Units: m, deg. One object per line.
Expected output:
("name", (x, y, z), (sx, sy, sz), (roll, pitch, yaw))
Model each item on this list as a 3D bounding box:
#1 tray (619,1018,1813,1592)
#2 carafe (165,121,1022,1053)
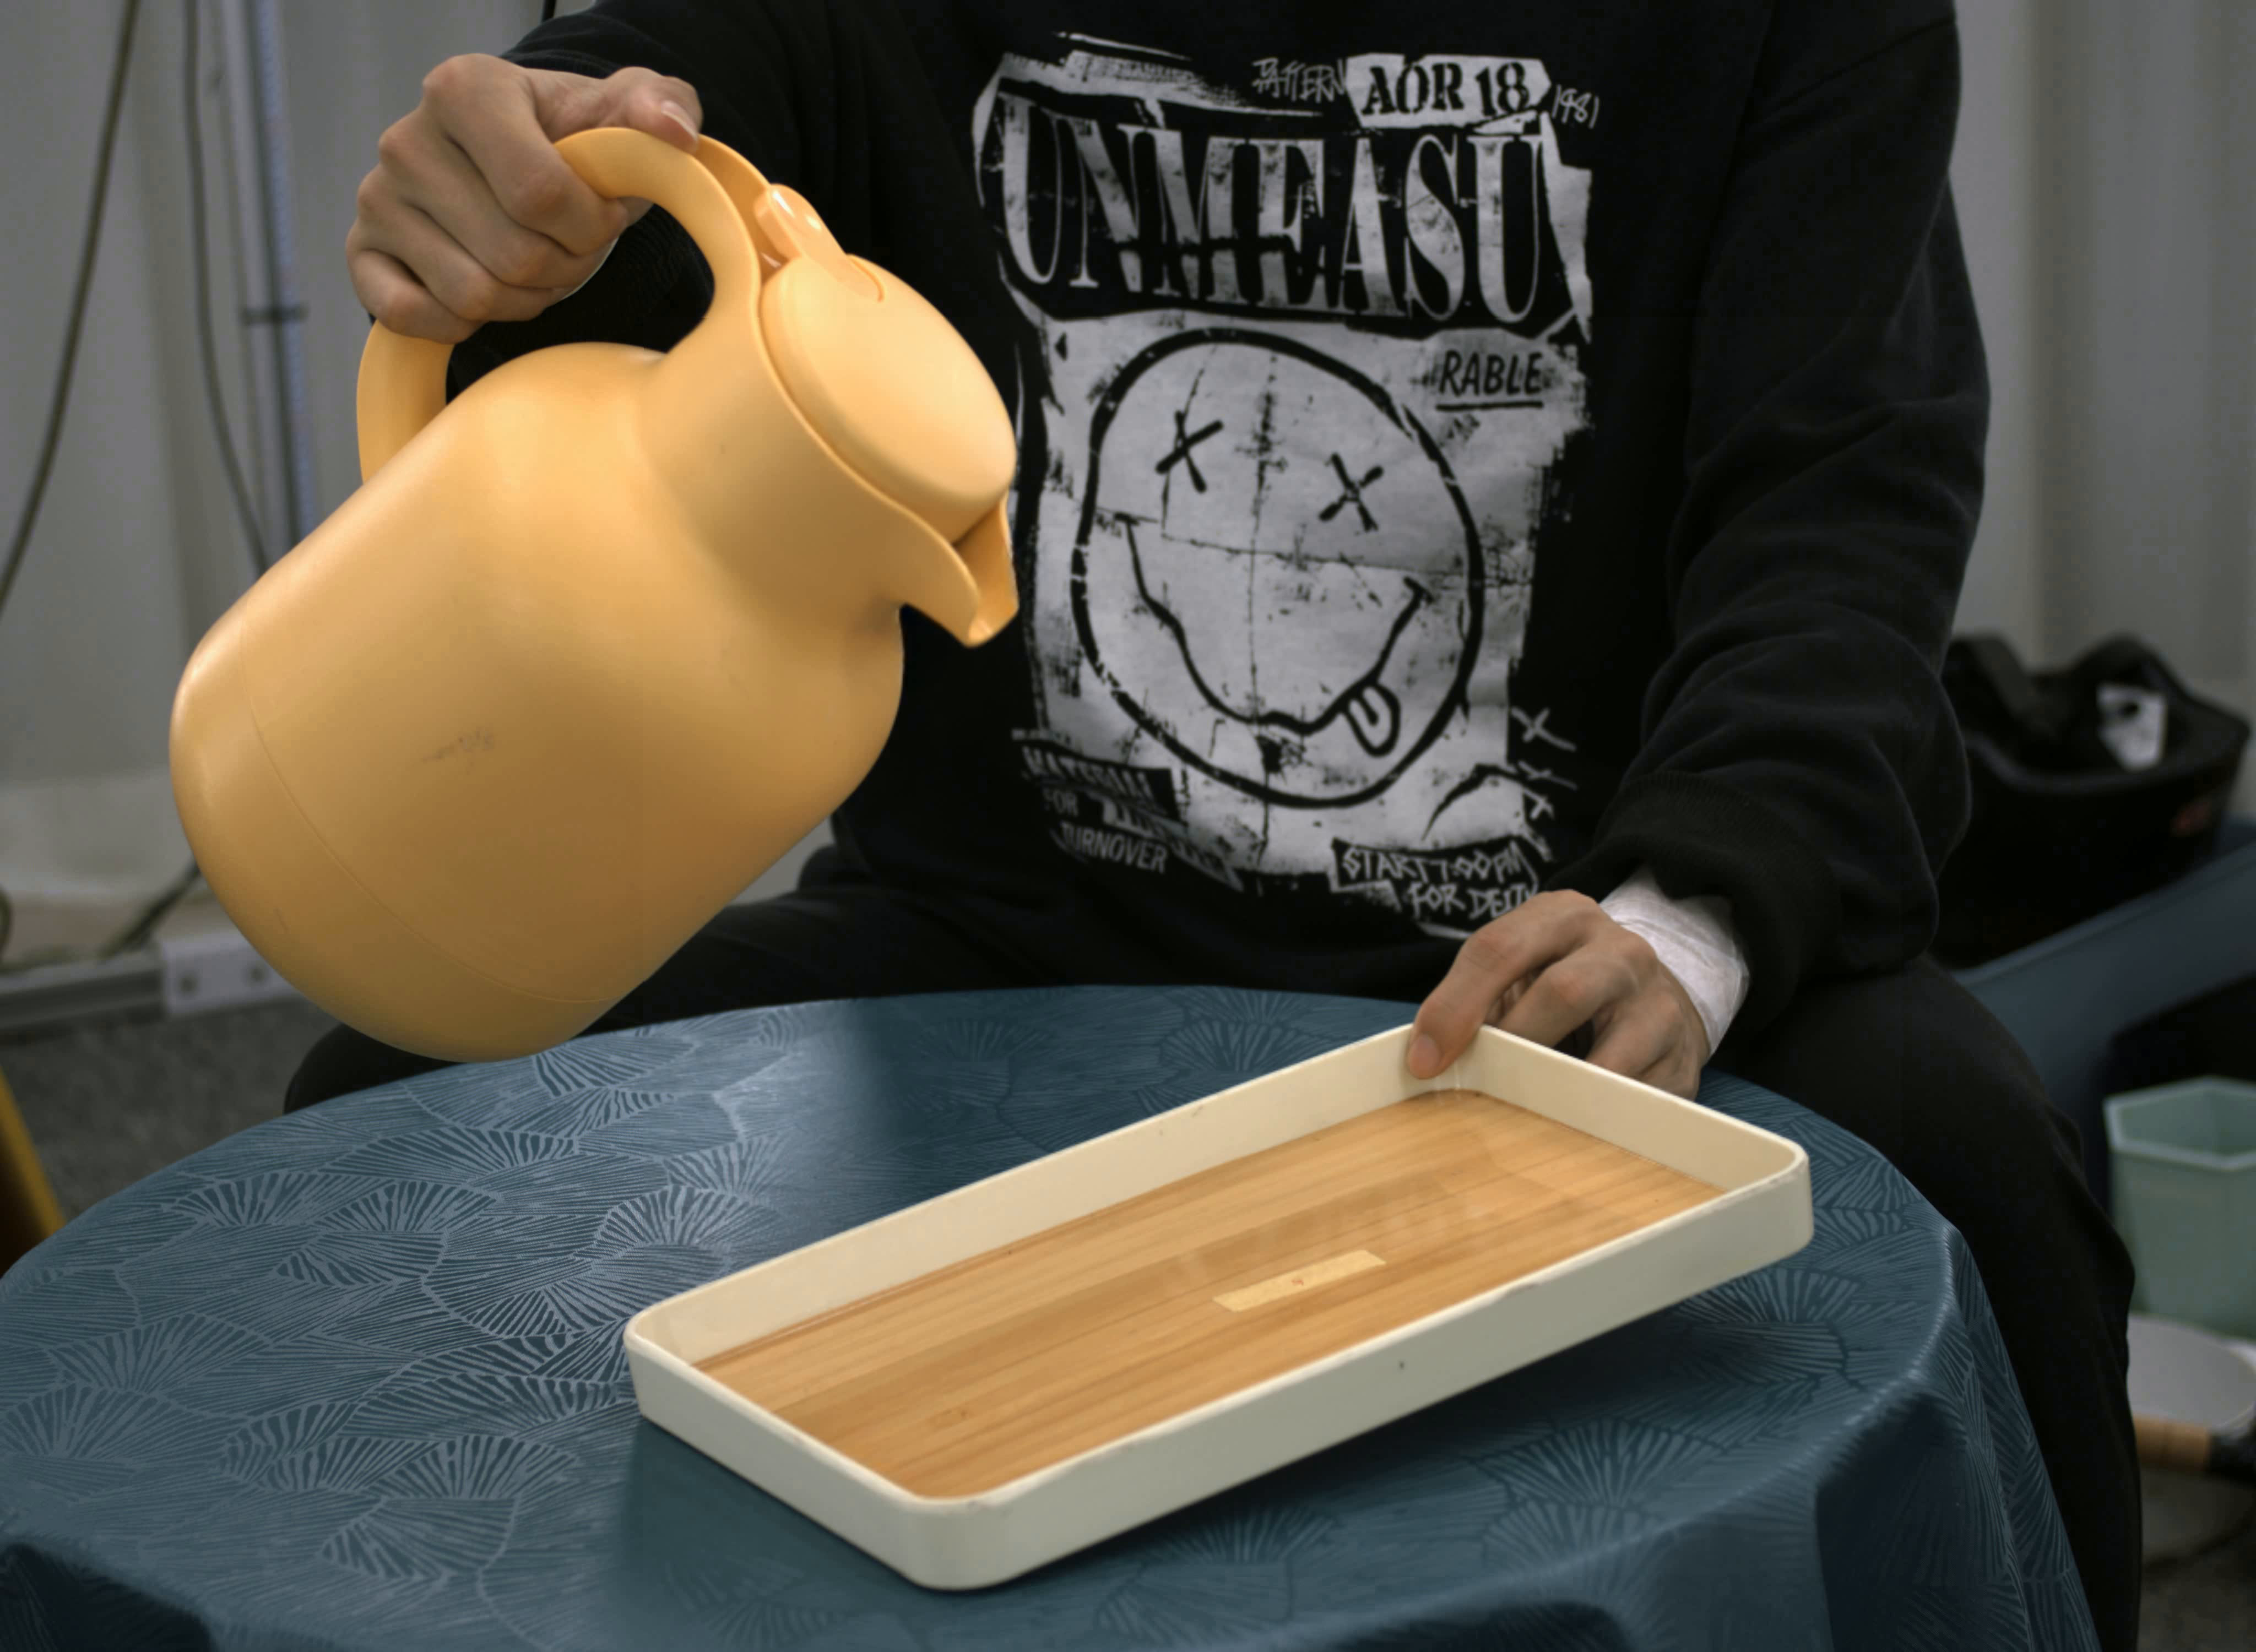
("tray", (0.026, 0.129, 1.544), (0.299, 0.027, 0.193), (-18, 21, -29))
("carafe", (-0.156, -0.075, 1.585), (0.259, 0.204, 0.163), (-38, -18, 26))
